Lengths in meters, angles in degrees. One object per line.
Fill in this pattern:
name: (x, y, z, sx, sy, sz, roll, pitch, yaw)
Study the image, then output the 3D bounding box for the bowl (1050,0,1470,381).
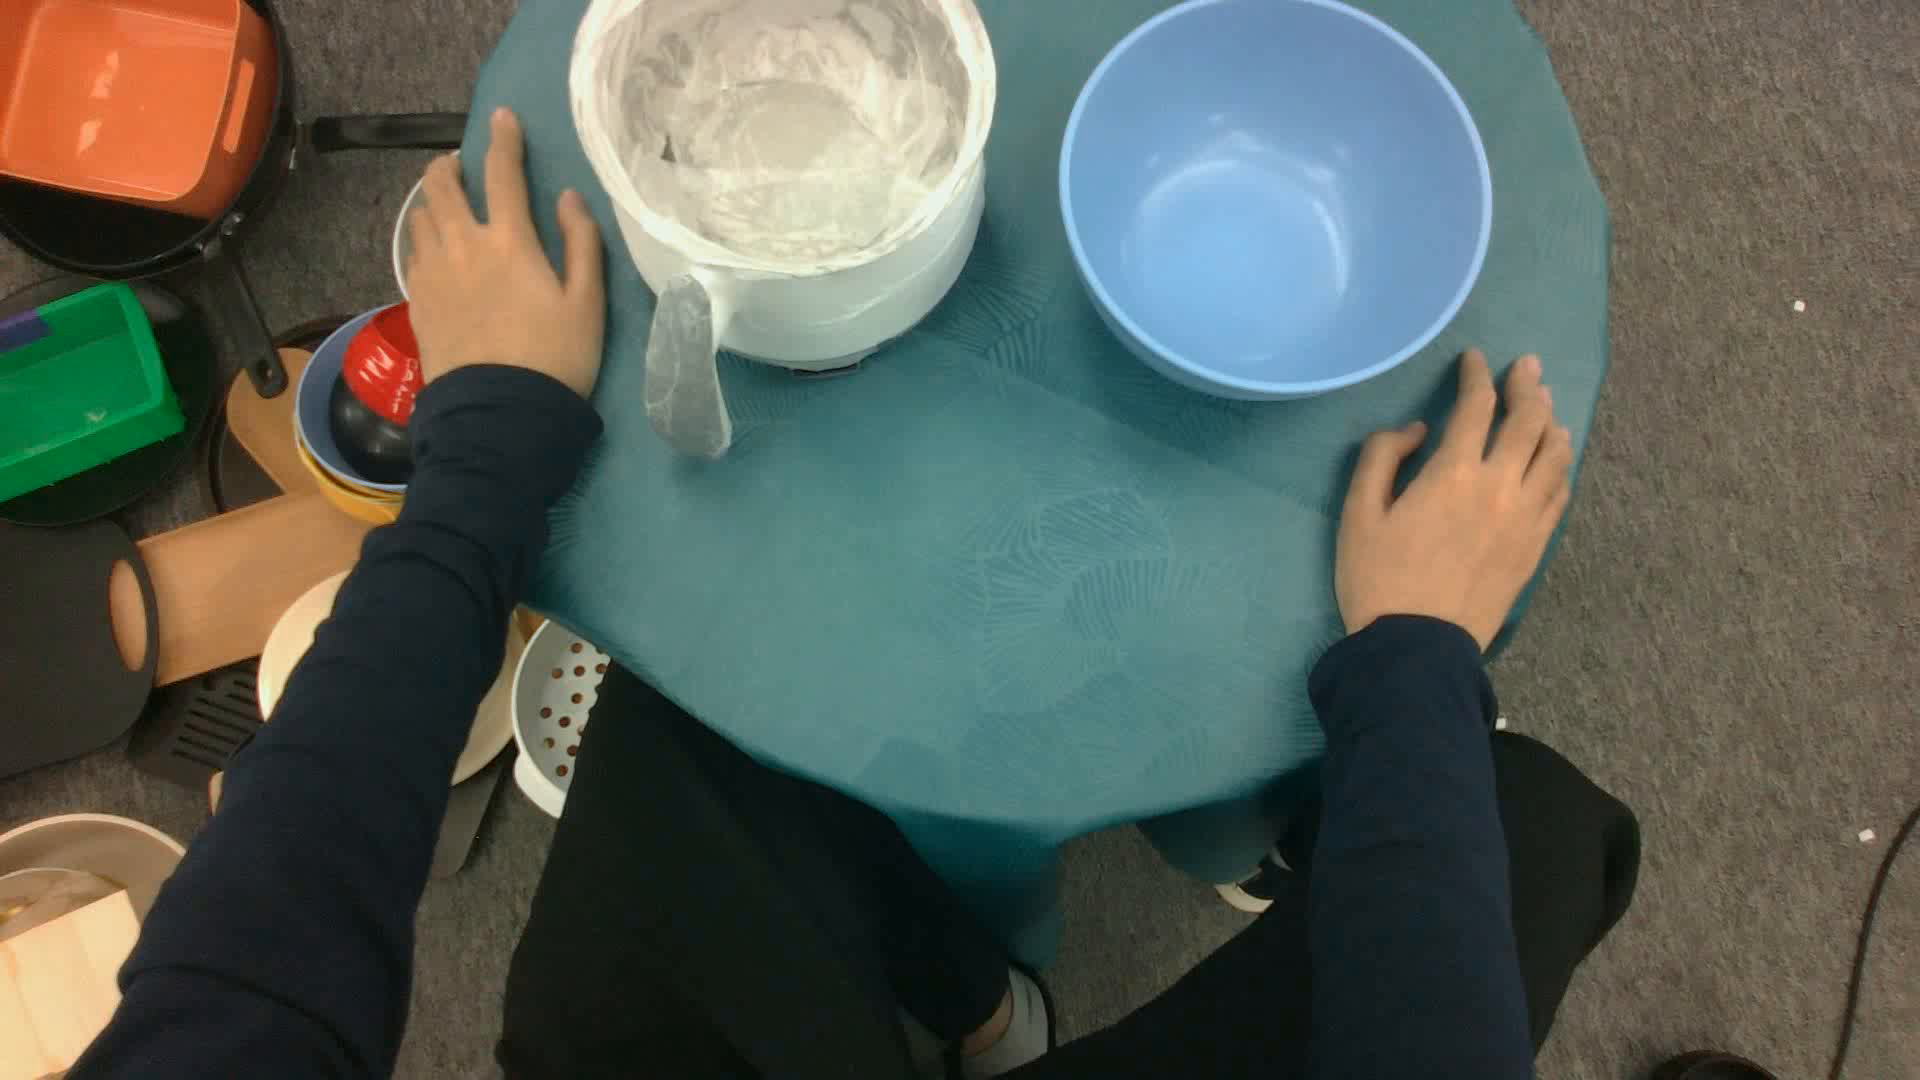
bowl: (0.132, -0.158, 0.668, 0.196, 0.095, 0.197, 2, 74, -7)

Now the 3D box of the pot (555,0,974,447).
pot: (-0.092, -0.161, 0.635, 0.178, 0.136, 0.234, 19, 76, 4)
